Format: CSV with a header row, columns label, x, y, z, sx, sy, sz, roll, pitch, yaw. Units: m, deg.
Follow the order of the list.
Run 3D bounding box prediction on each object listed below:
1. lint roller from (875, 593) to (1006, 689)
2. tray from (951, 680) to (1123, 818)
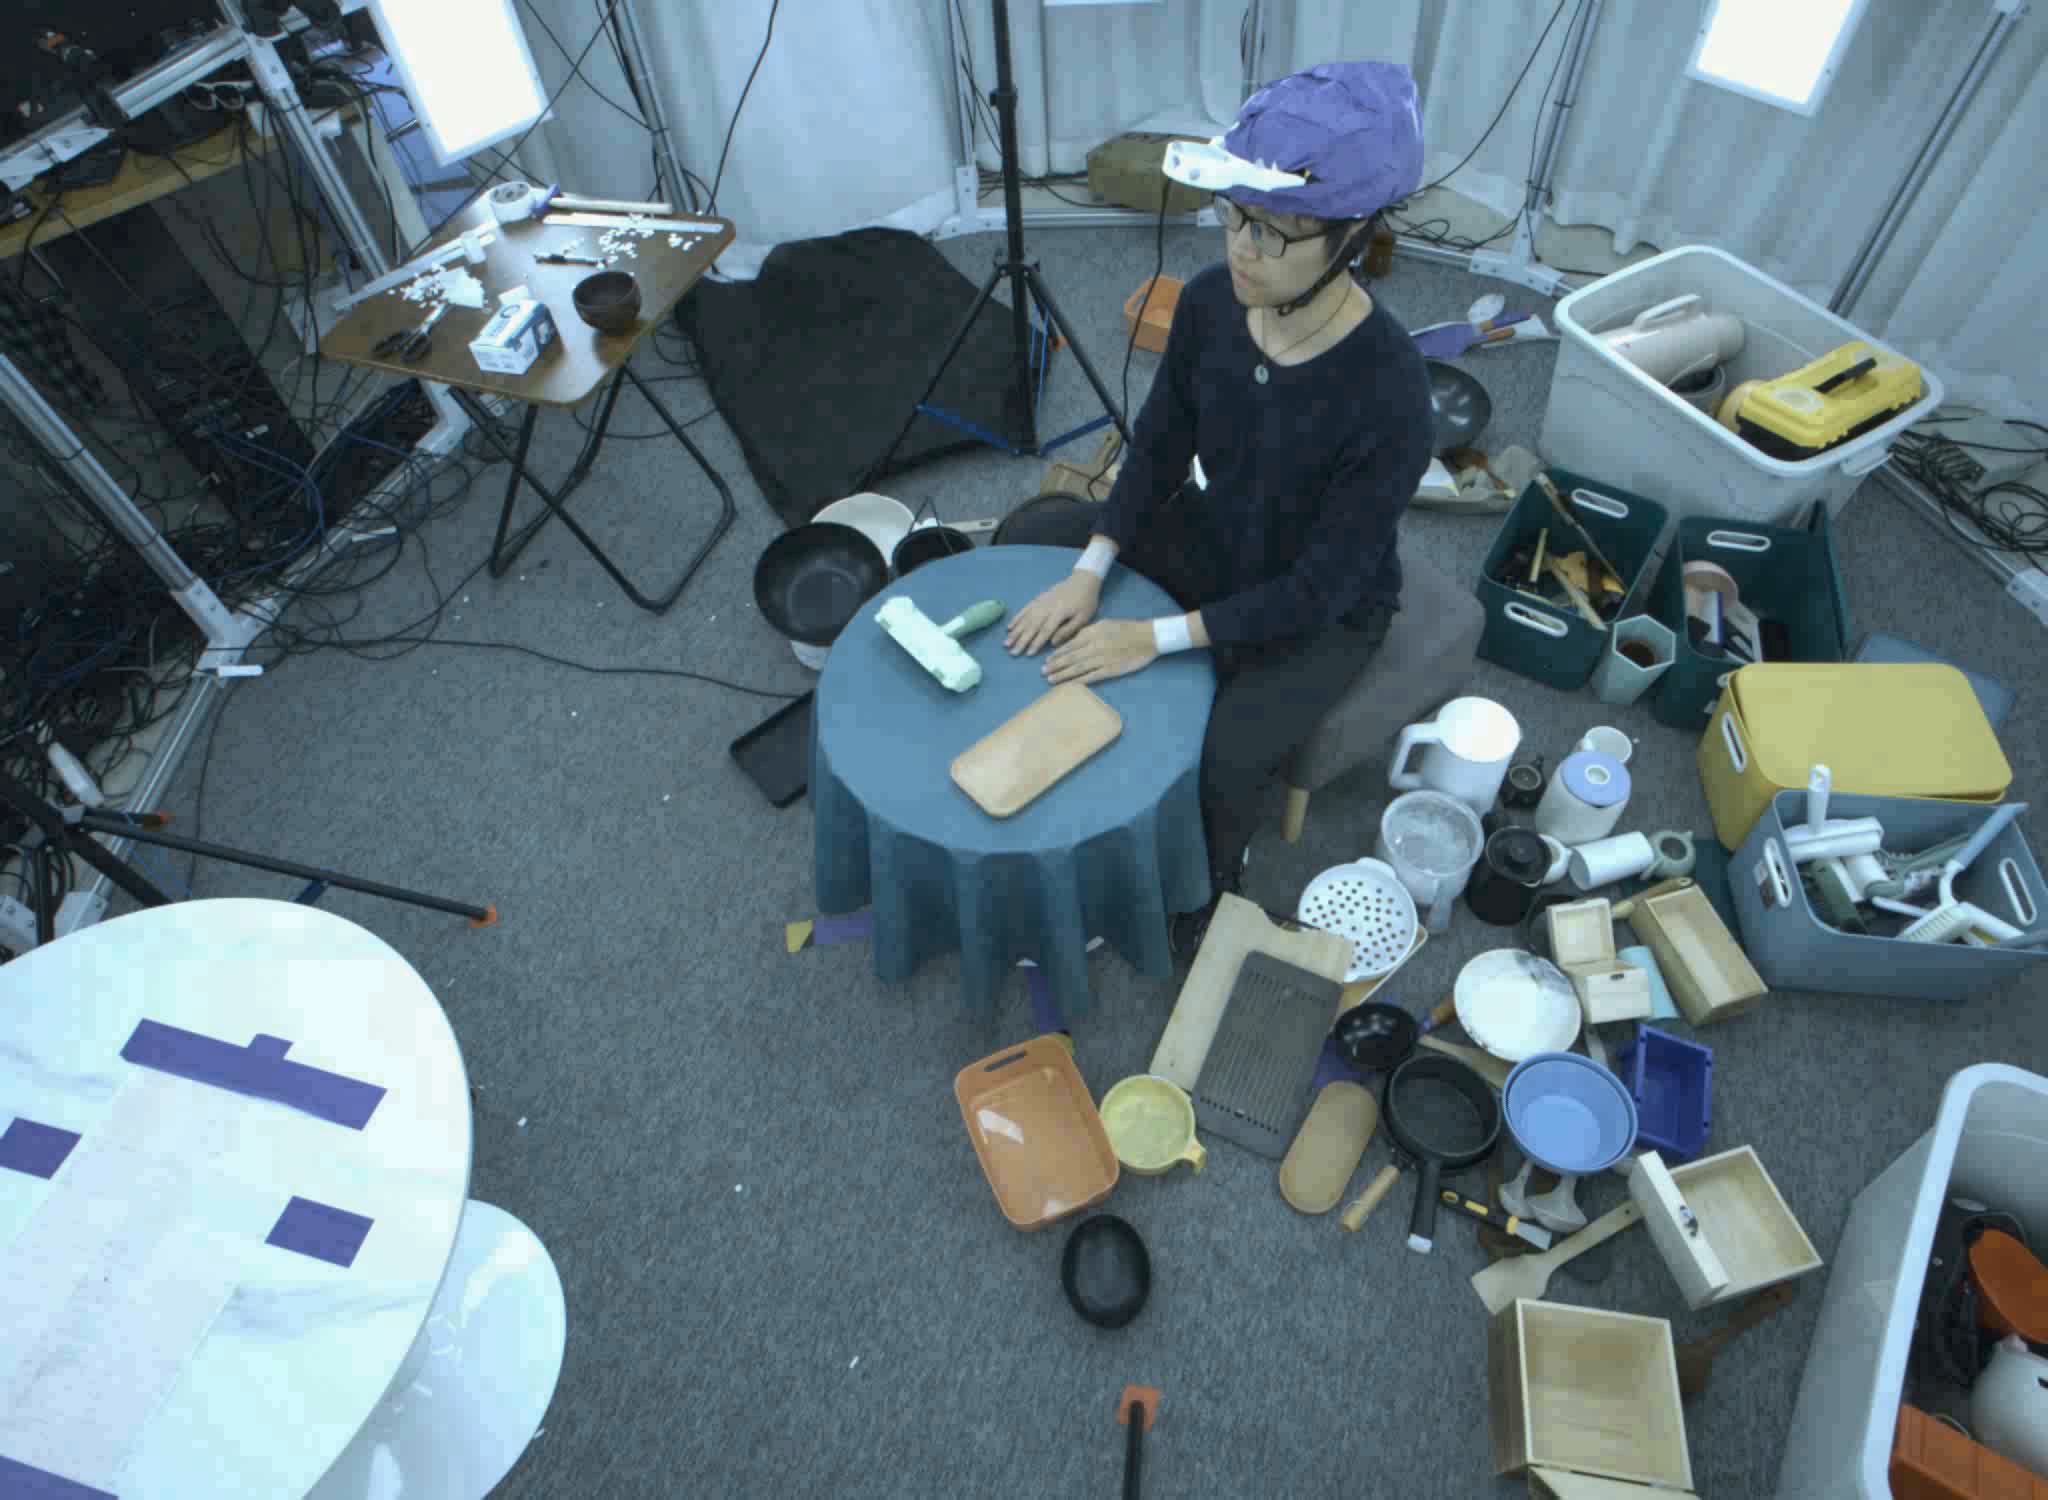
label,x,y,z,sx,sy,sz,roll,pitch,yaw
lint roller,-0.104,-0.202,1.880,0.184,0.083,0.195,-39,63,-16
tray,0.020,-0.003,1.779,0.252,0.023,0.128,-36,63,-22
